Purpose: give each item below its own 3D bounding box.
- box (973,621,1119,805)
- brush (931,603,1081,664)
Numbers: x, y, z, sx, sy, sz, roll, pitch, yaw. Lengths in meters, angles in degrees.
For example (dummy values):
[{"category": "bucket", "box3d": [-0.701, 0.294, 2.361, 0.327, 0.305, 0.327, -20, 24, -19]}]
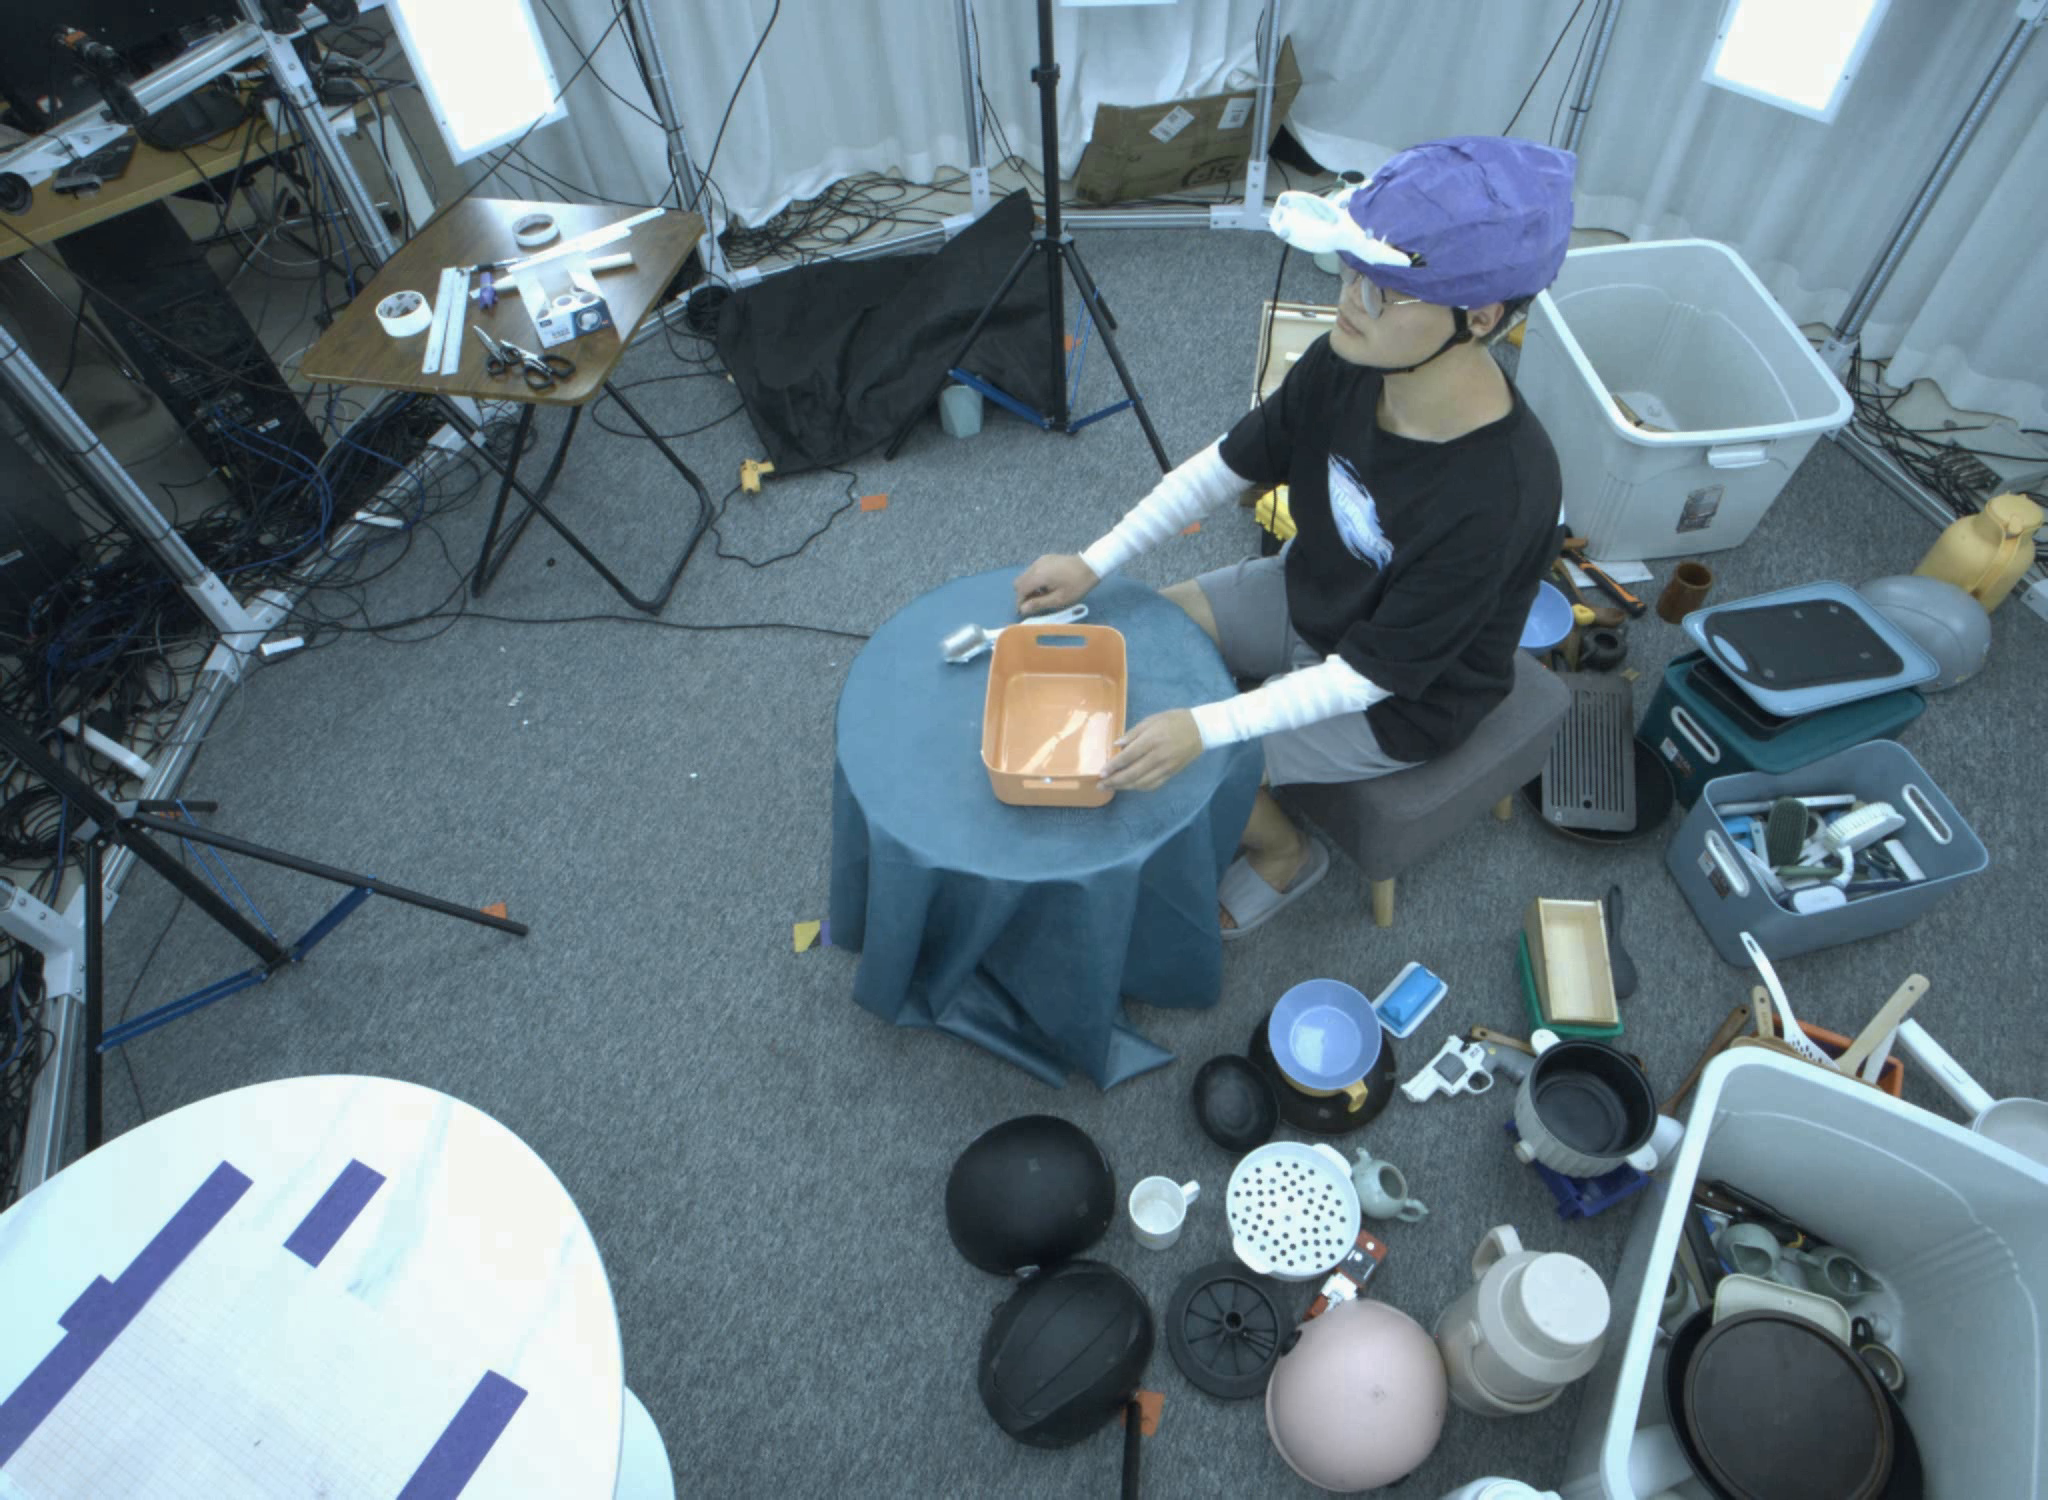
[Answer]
[{"category": "box", "box3d": [0.036, -0.049, 1.746, 0.199, 0.104, 0.270, 1, 55, 4]}, {"category": "brush", "box3d": [-0.025, -0.193, 1.887, 0.245, 0.051, 0.034, -21, 56, -12]}]
